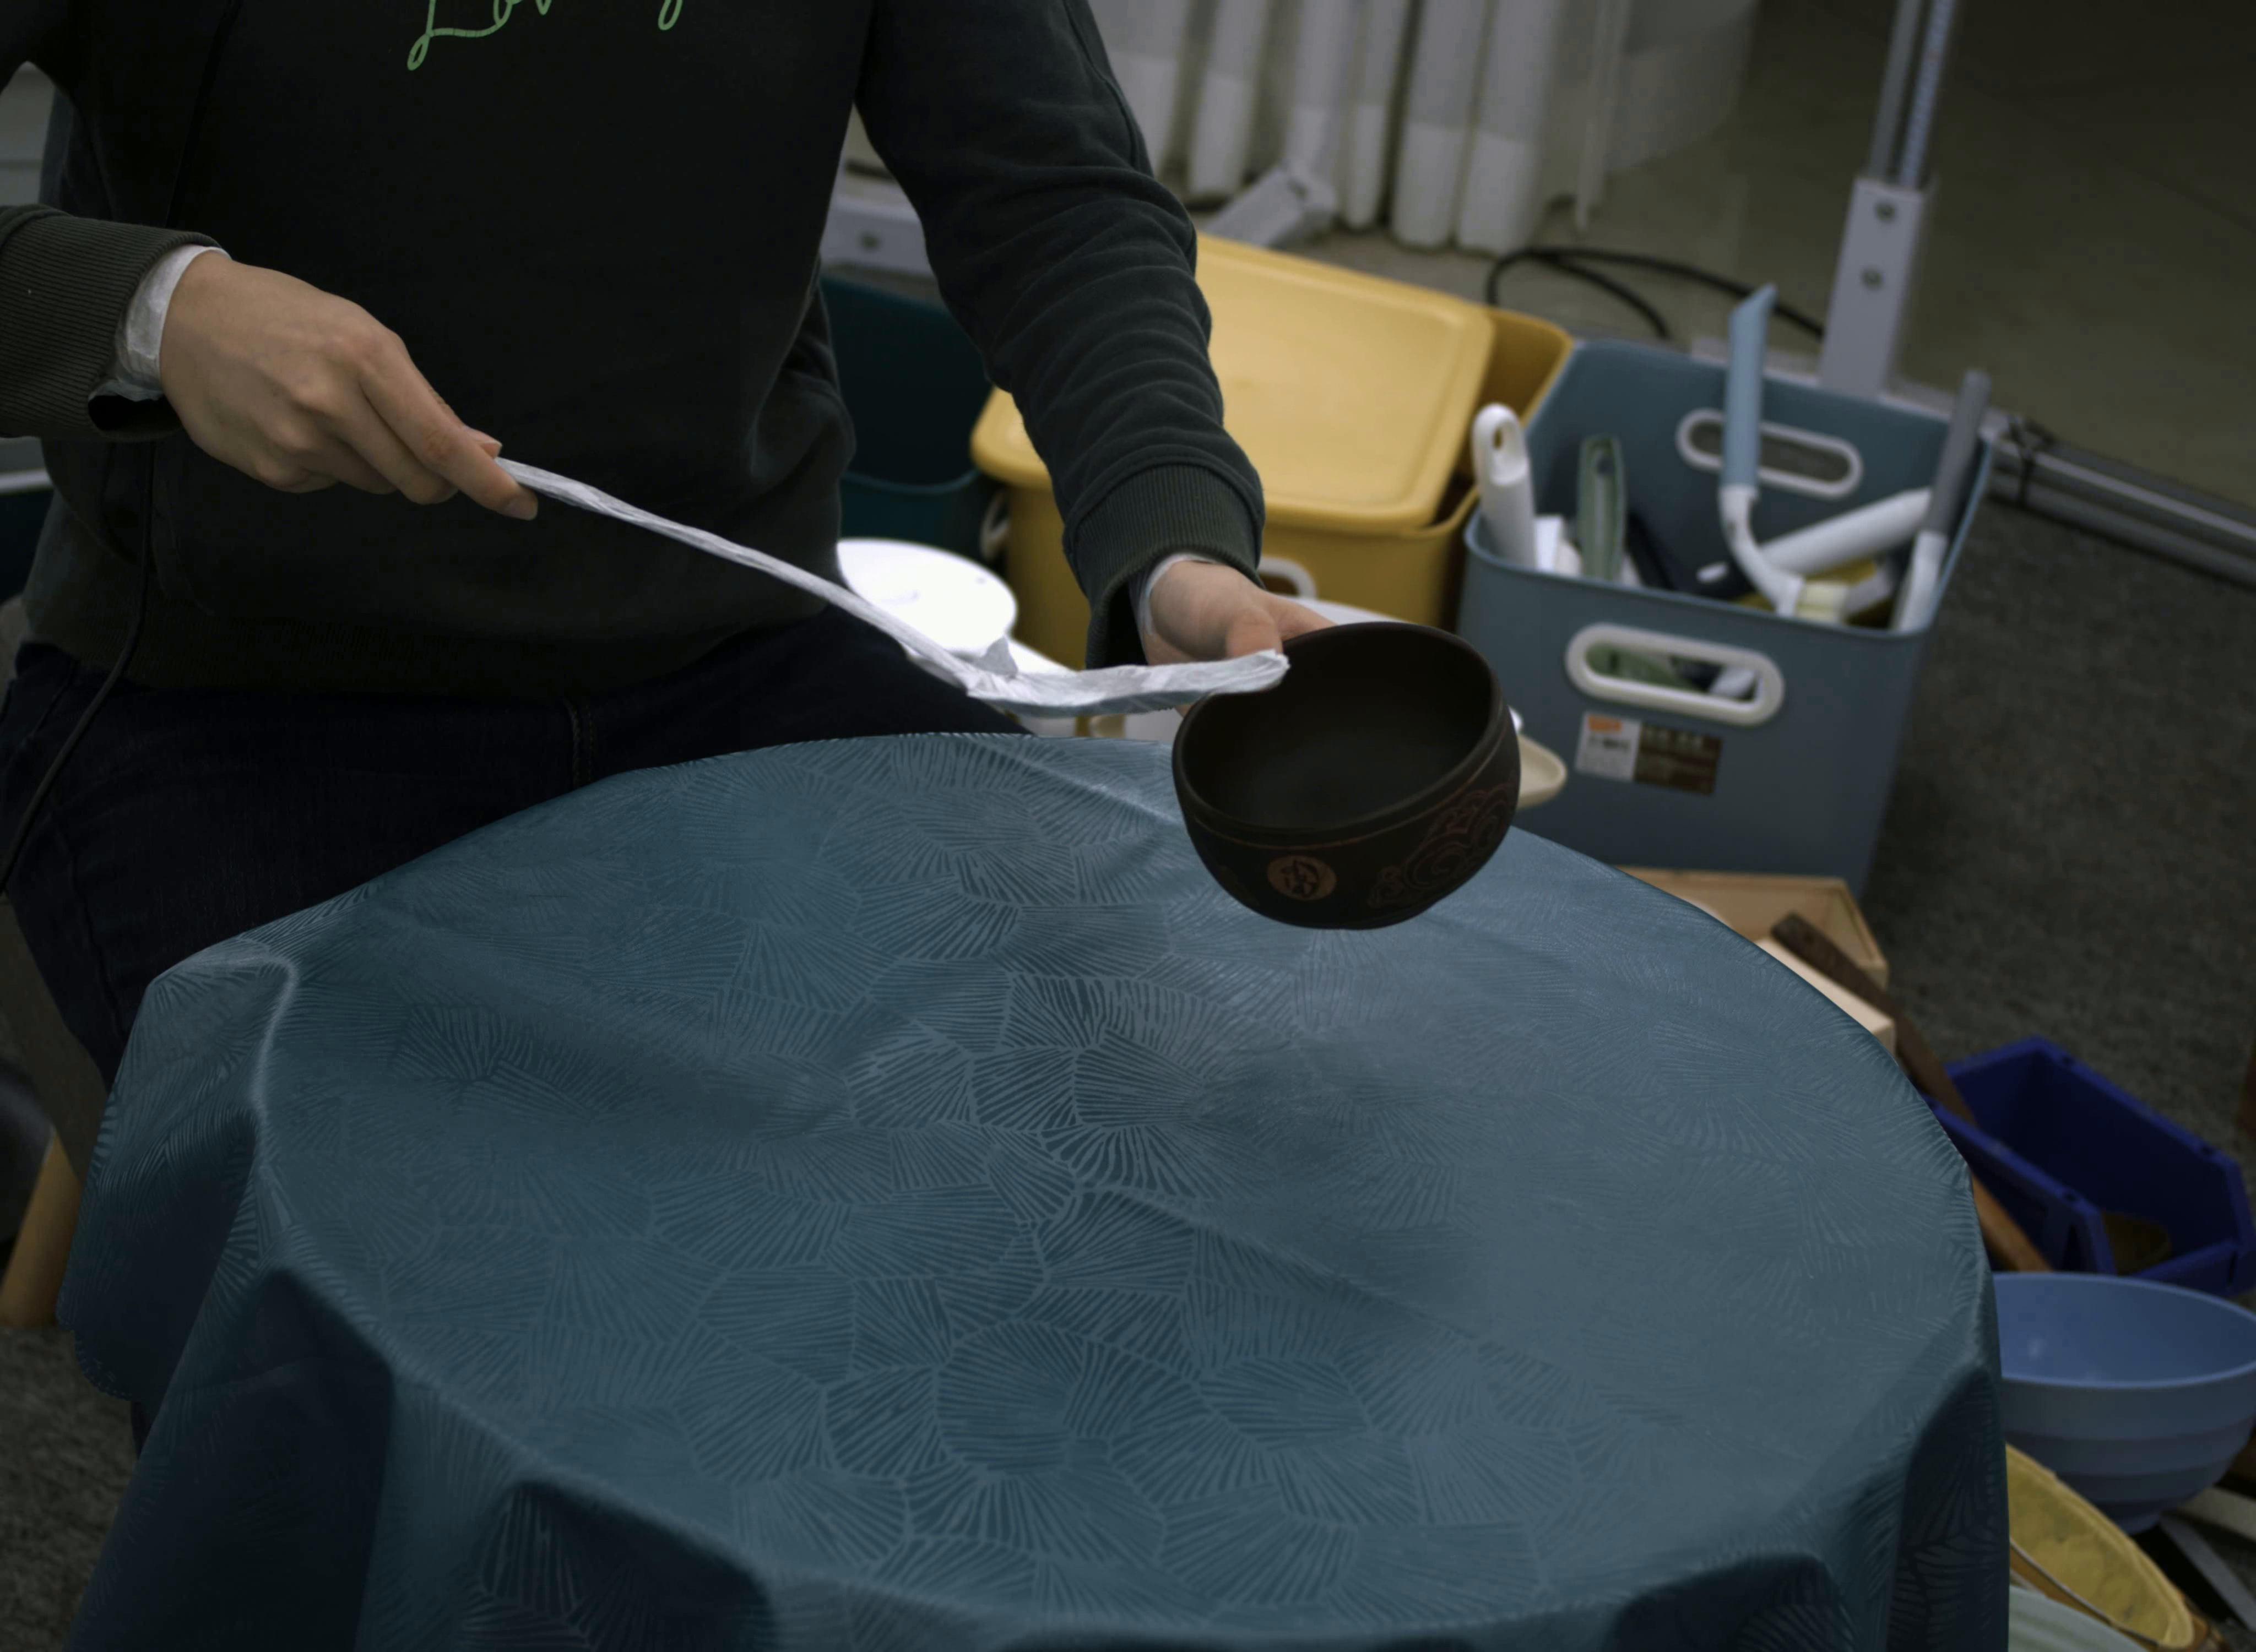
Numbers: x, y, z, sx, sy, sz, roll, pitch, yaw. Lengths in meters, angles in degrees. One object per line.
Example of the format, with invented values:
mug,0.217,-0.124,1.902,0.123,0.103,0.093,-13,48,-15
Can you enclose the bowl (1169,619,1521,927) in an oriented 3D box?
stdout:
bowl,0.077,-0.010,1.810,0.118,0.069,0.119,-12,34,8

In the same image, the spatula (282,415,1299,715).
spatula,-0.121,-0.093,1.762,0.365,0.045,0.098,21,15,14
